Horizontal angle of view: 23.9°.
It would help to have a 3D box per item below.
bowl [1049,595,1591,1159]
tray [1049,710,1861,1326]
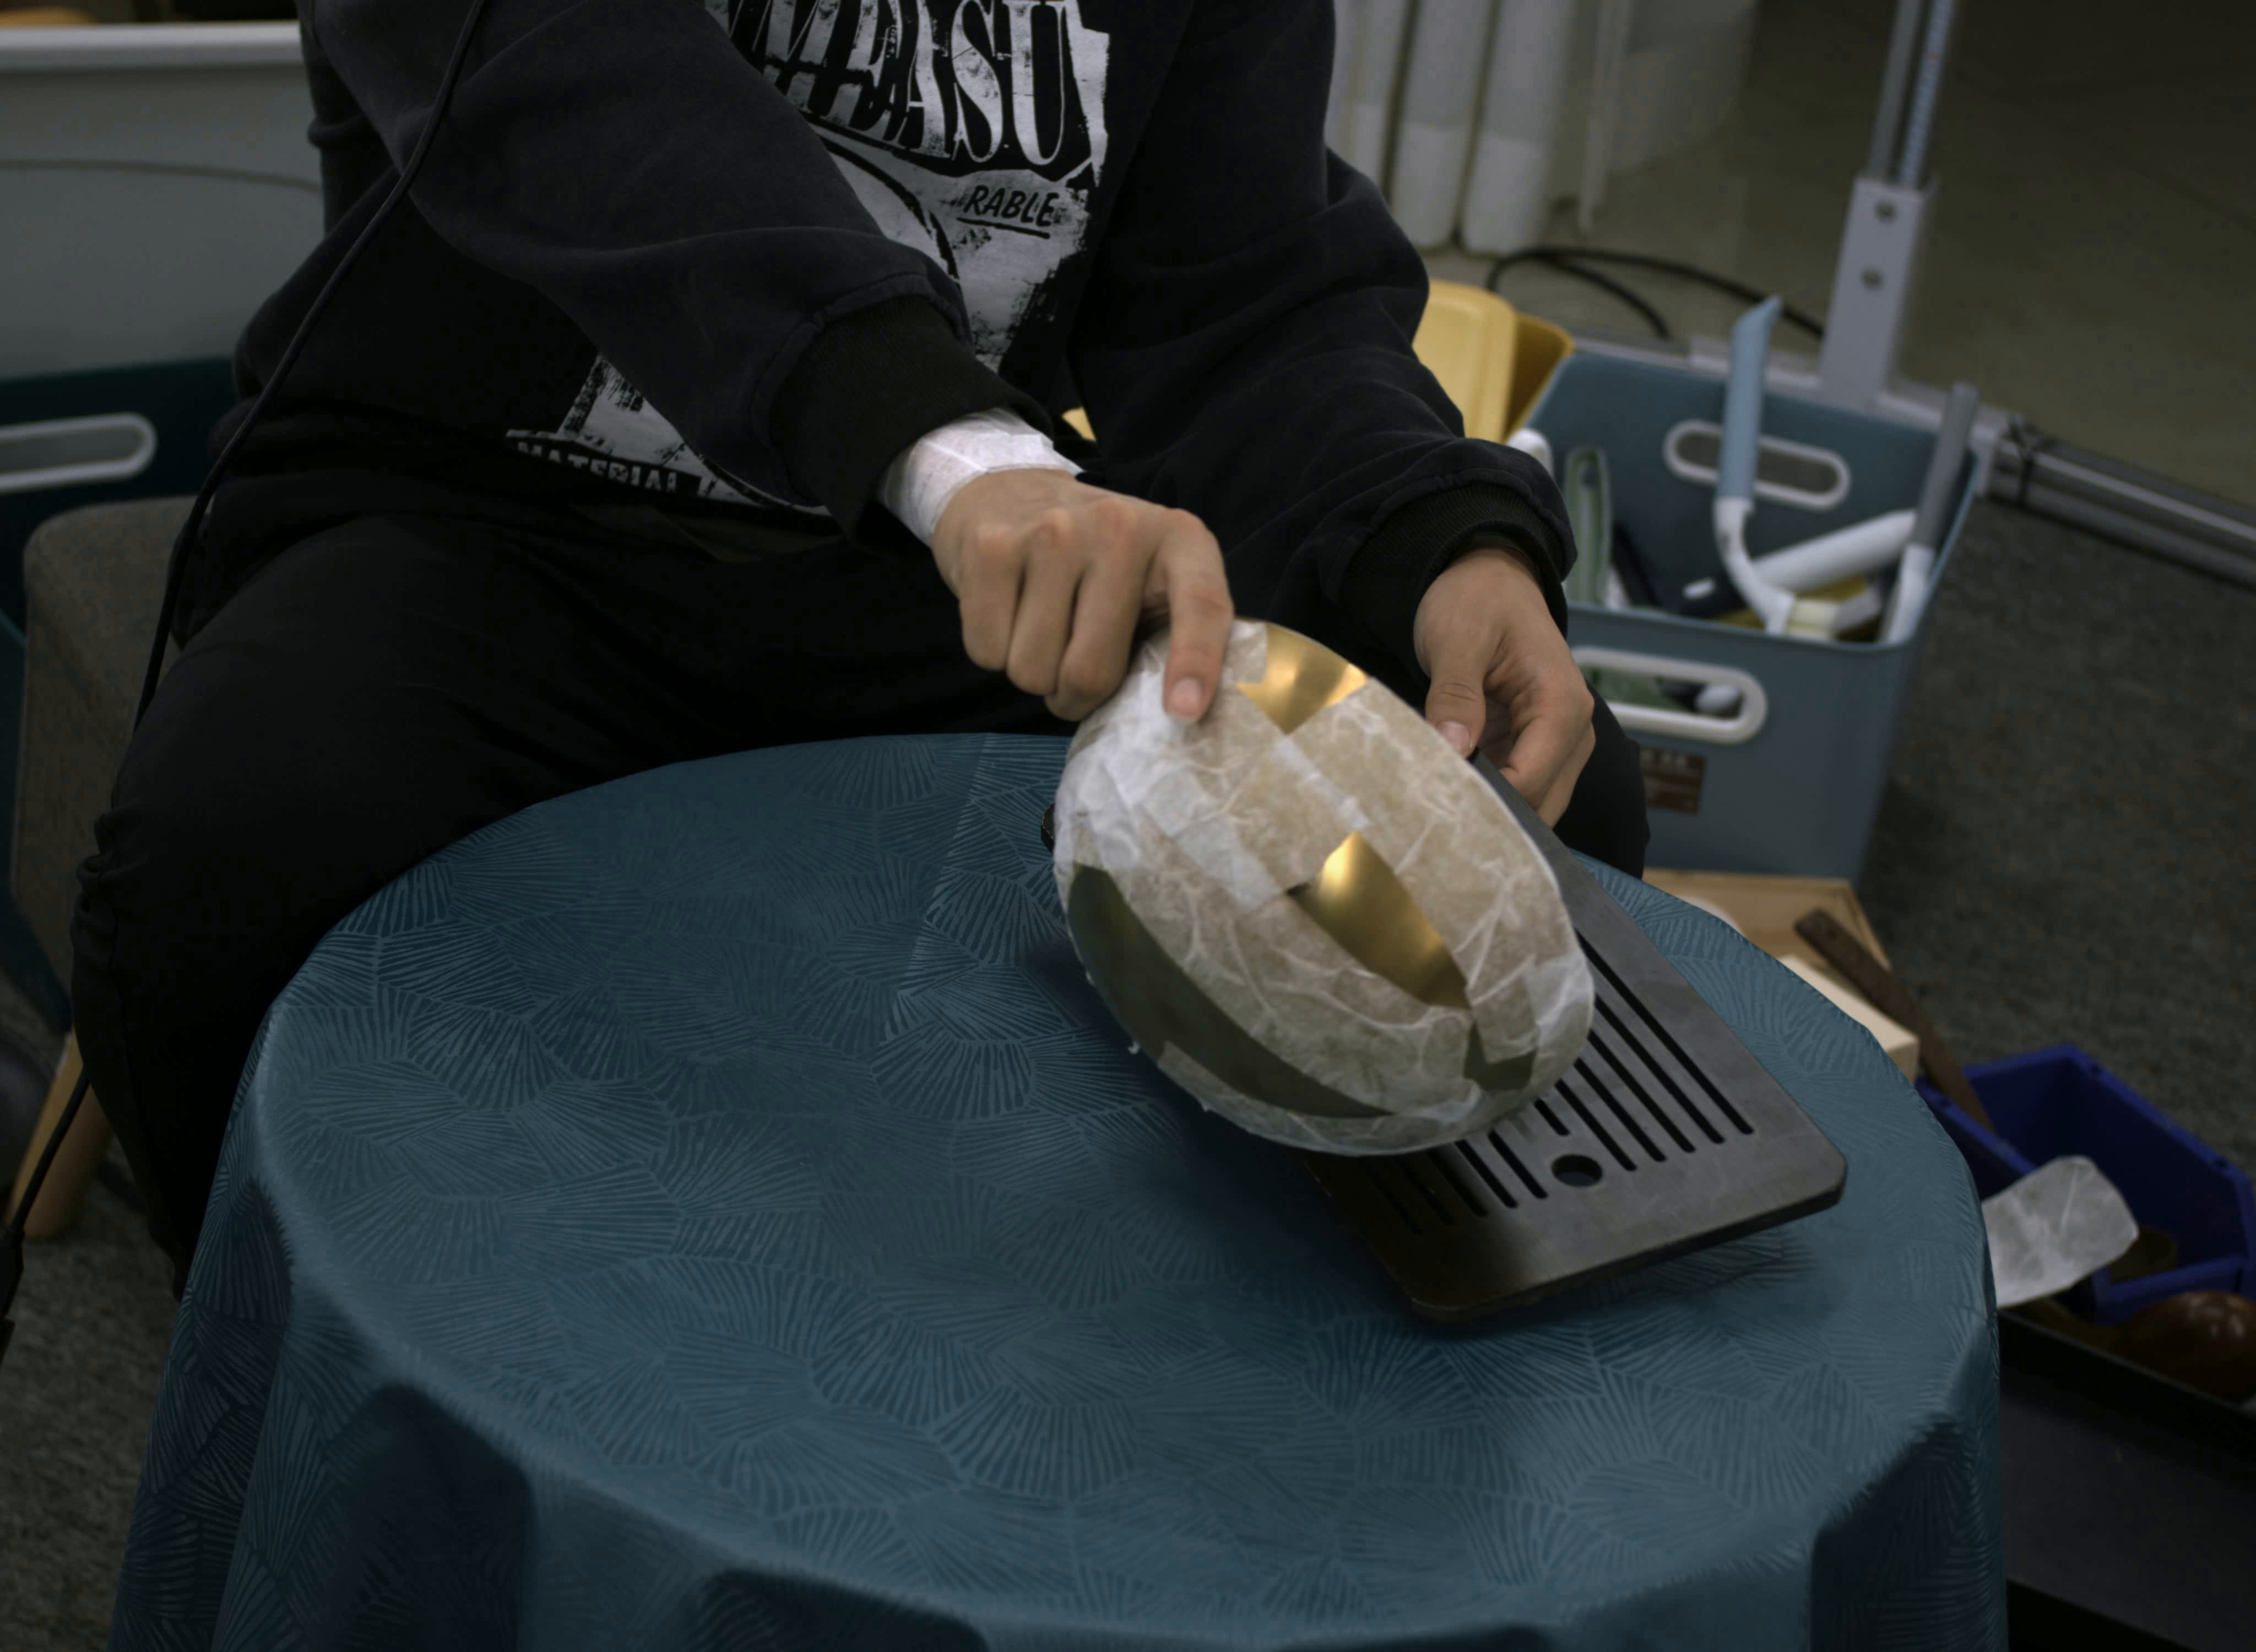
[{"bbox_3d":[0.043,0.037,1.735,0.216,0.213,0.094,28,59,36],"label":"bowl"},{"bbox_3d":[0.109,0.063,1.866,0.169,0.018,0.309,-15,39,-21],"label":"tray"}]
